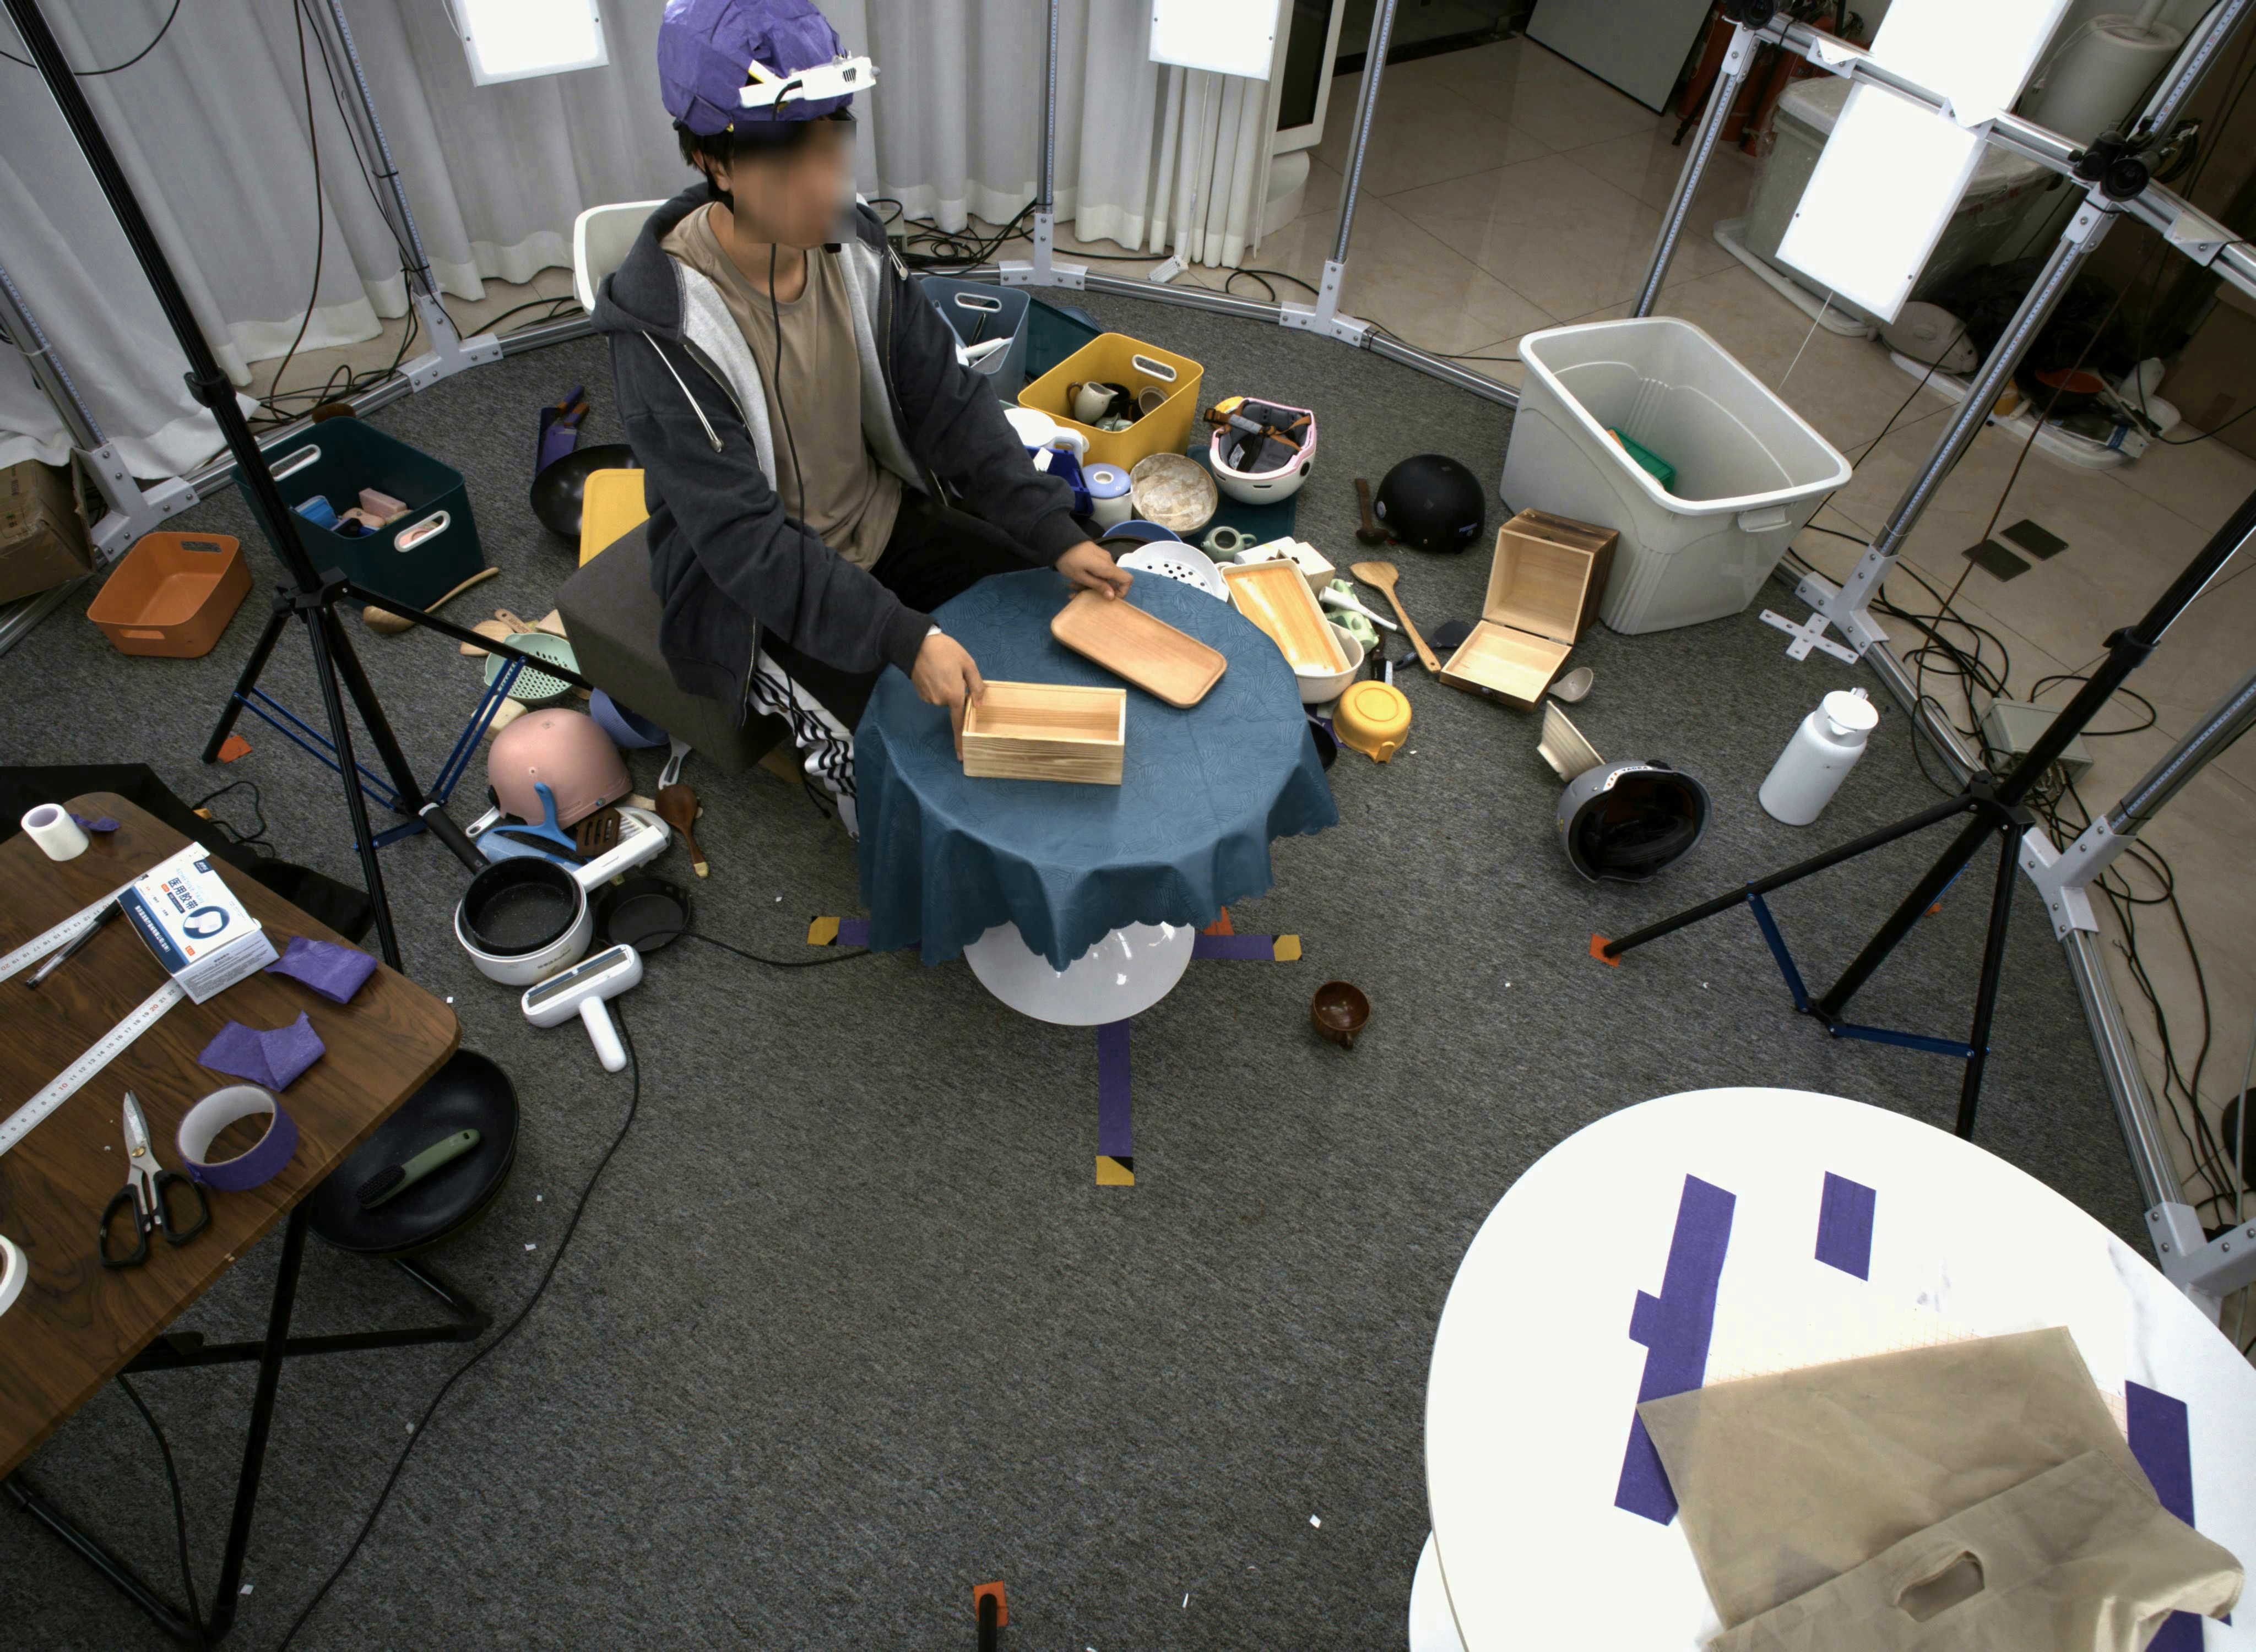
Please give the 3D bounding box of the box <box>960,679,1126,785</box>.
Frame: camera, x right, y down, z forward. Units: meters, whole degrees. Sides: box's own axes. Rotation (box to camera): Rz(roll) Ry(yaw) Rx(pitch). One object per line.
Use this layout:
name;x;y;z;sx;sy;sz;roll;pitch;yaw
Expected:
box;-0.111;-0.126;1.716;0.211;0.078;0.110;4;49;-1

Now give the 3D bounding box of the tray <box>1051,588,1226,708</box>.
tray;0.014;-0.260;1.870;0.253;0.022;0.132;30;51;16
